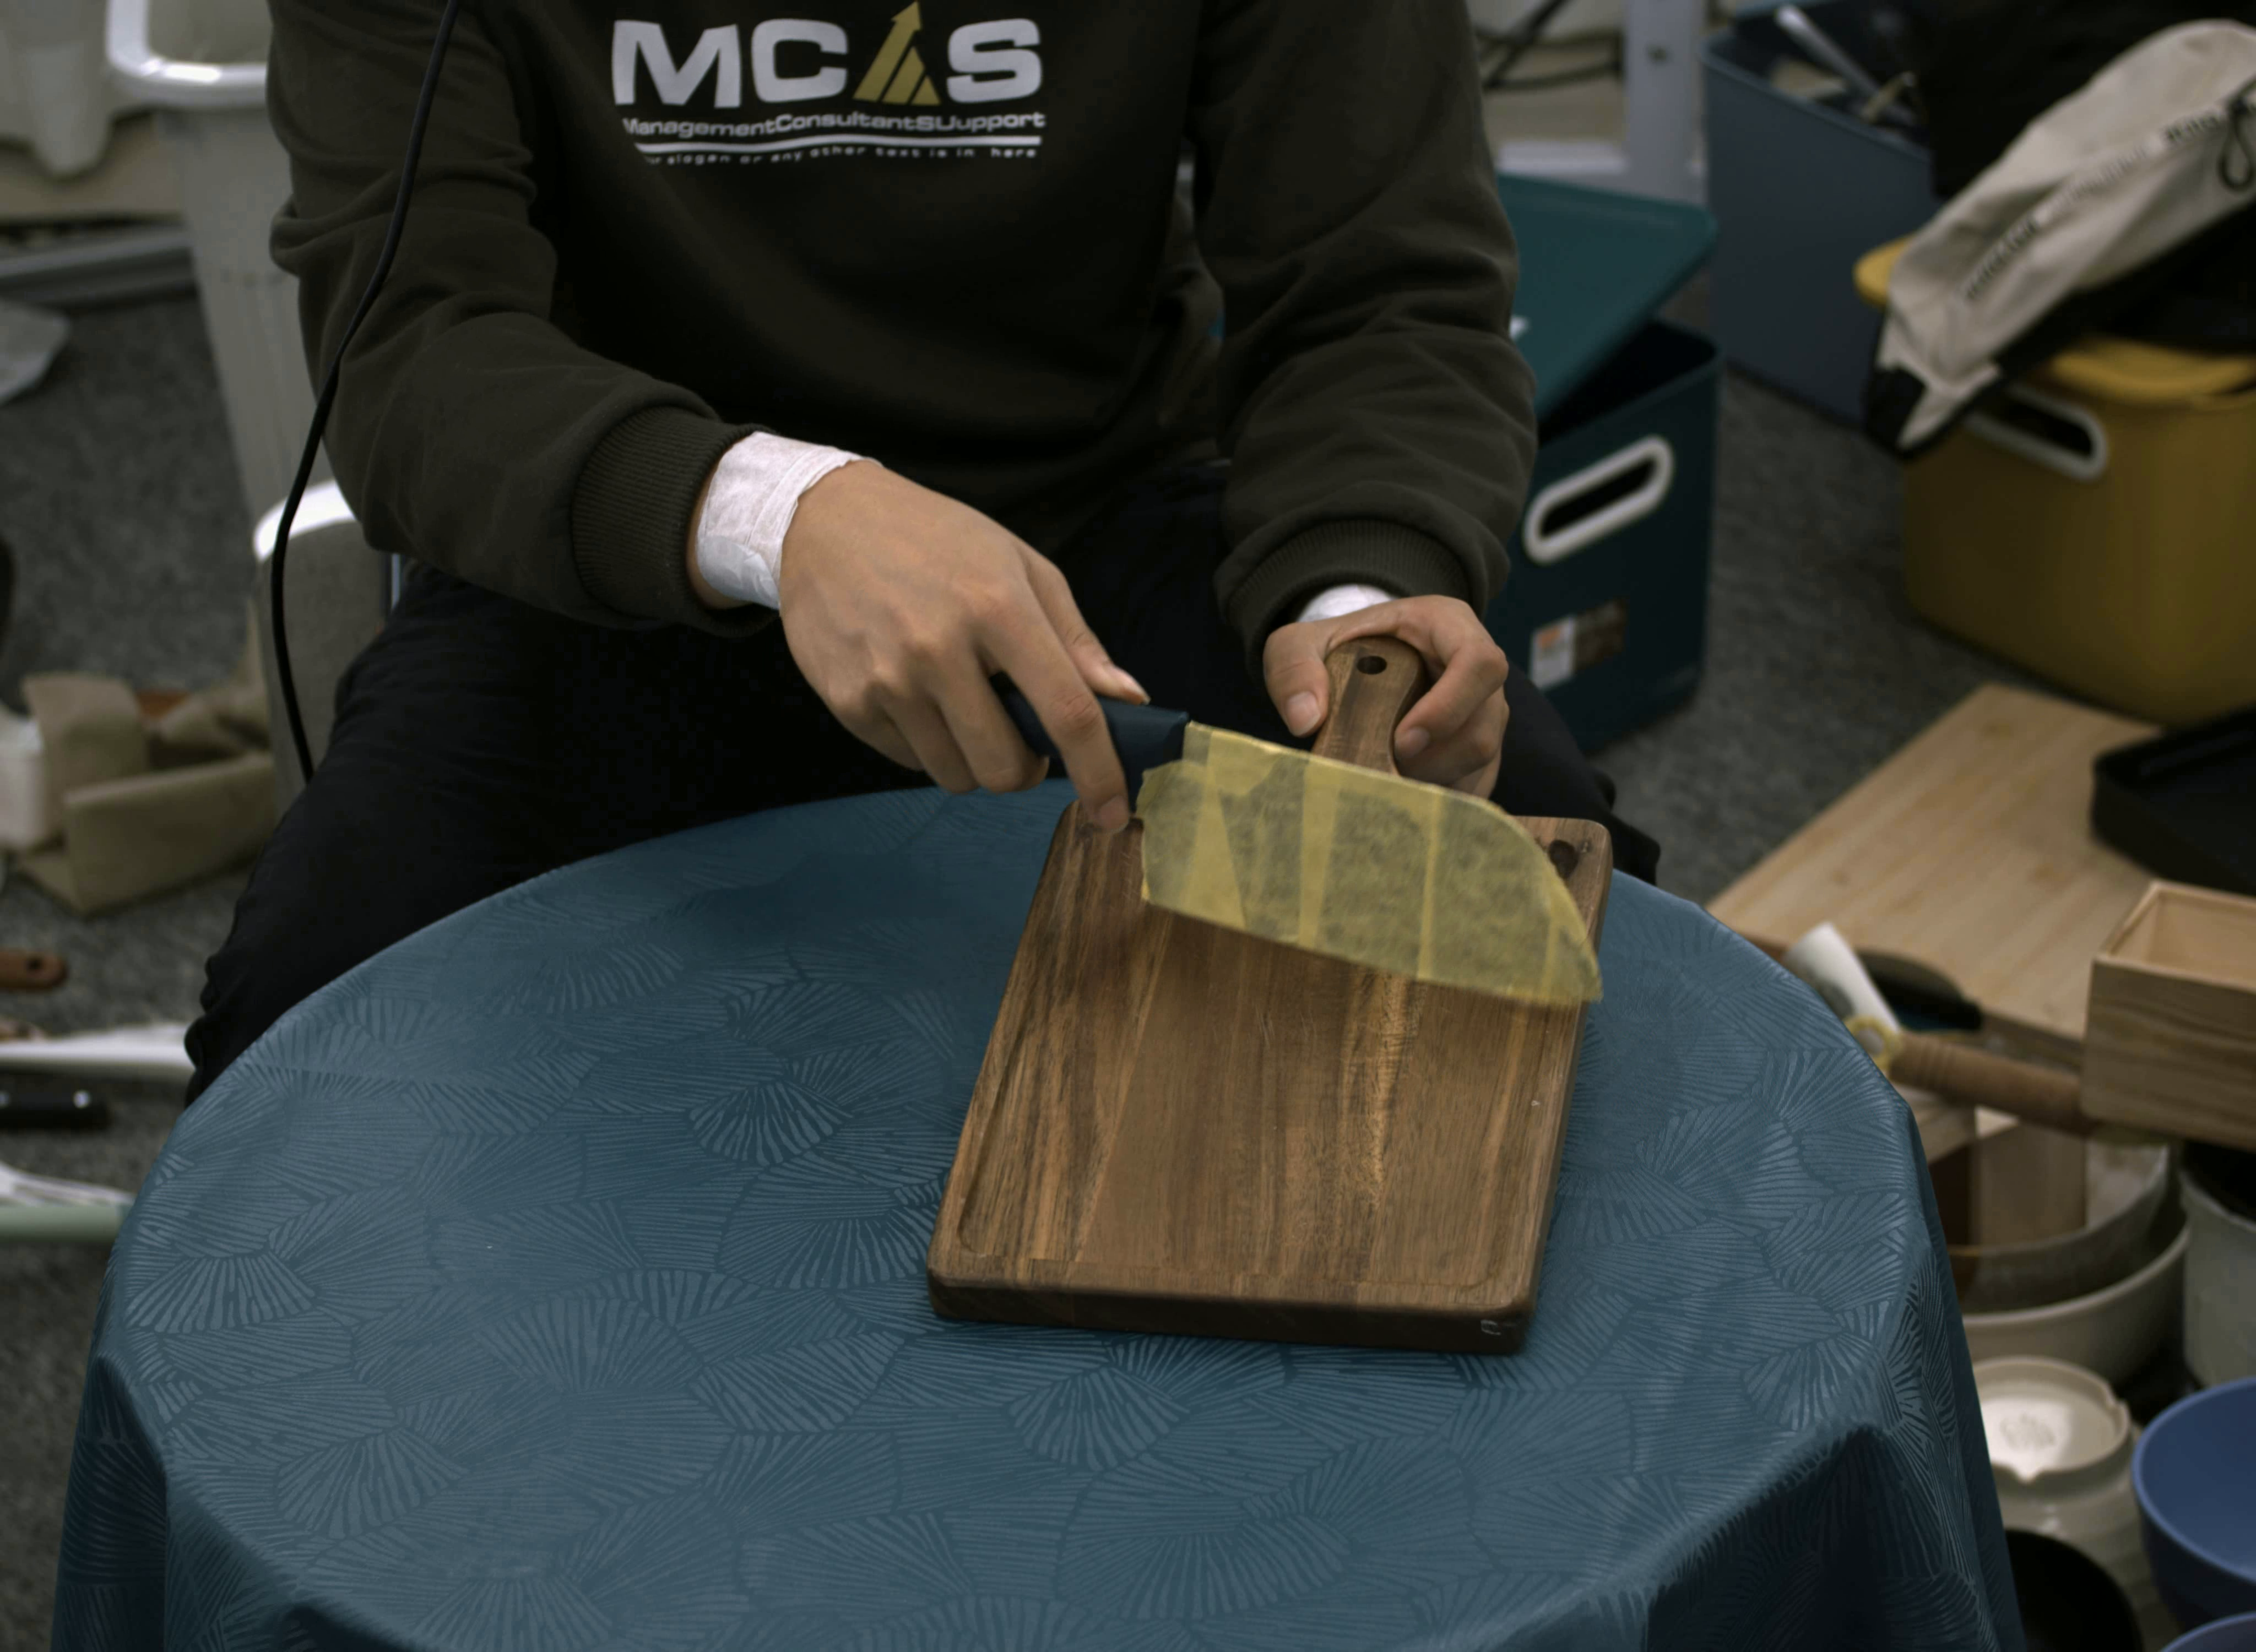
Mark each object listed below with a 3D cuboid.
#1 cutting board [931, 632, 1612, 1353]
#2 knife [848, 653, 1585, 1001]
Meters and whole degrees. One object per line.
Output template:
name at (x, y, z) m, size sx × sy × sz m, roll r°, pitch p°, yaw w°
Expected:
cutting board at (0.060, 0.047, 1.908) m, size 0.200 × 0.023 × 0.359 m, roll 3°, pitch 38°, yaw 10°
knife at (0.027, -0.001, 1.907) m, size 0.288 × 0.080 × 0.027 m, roll 20°, pitch 26°, yaw 25°
